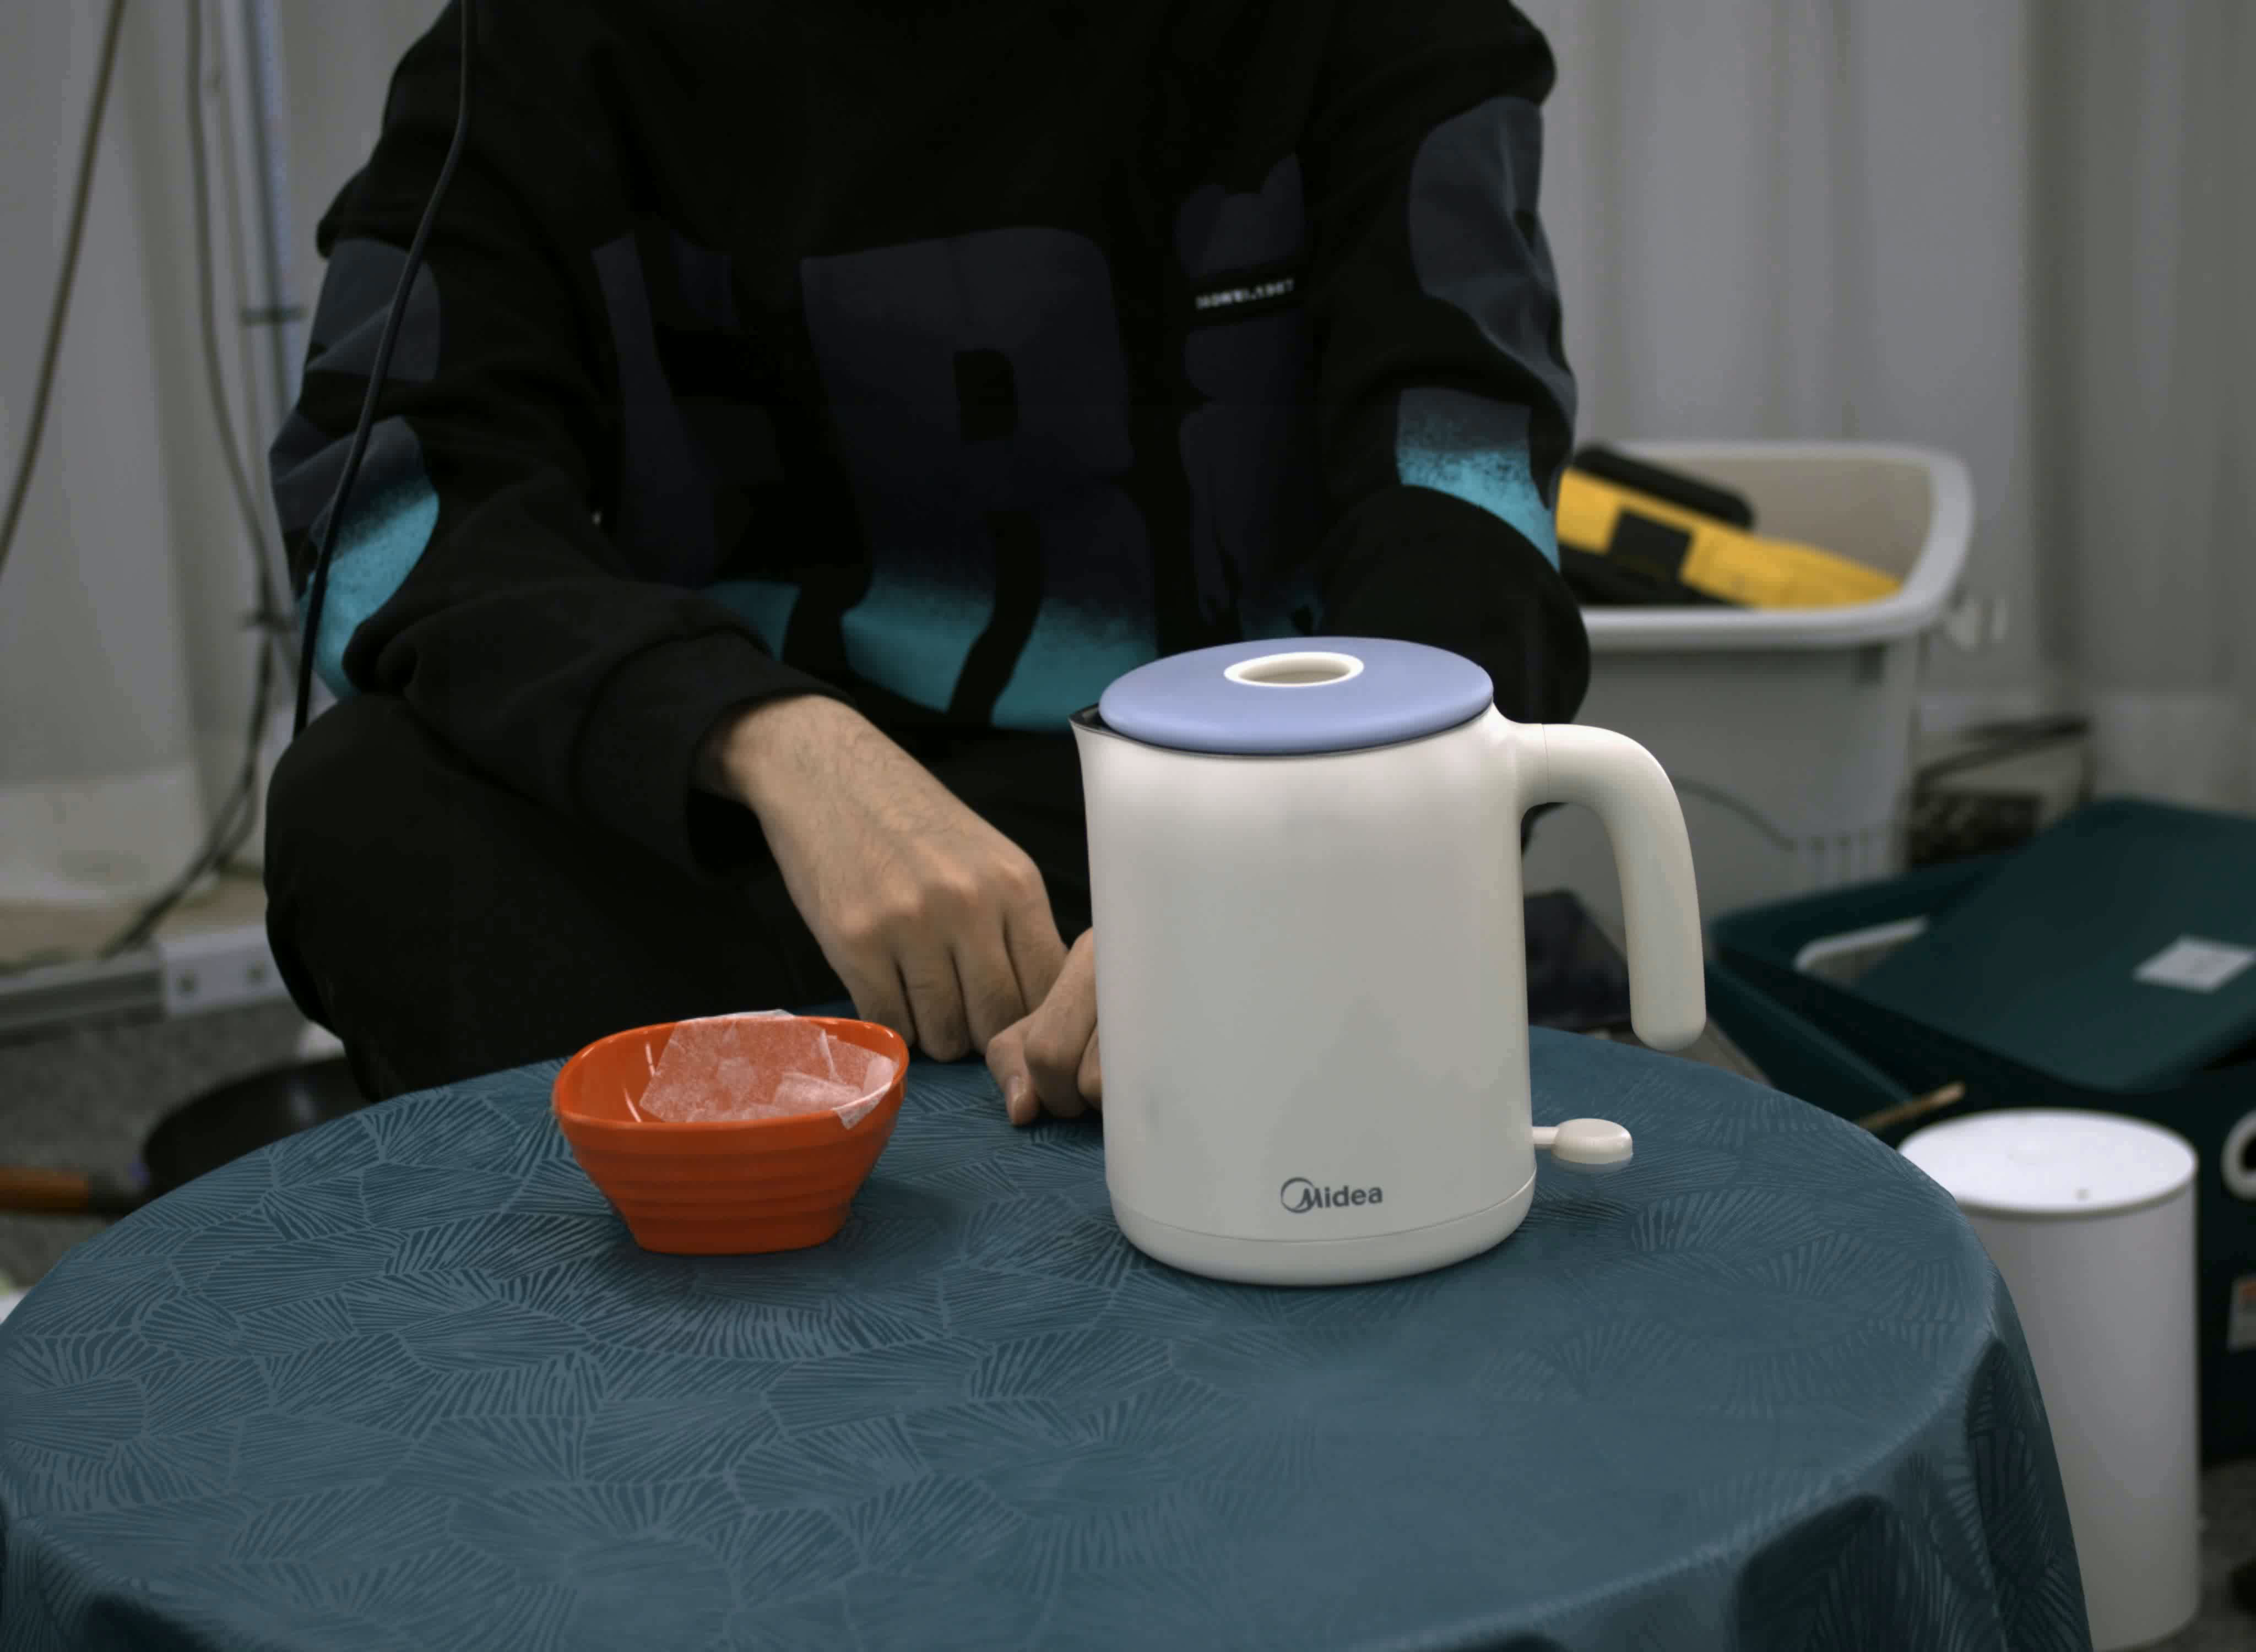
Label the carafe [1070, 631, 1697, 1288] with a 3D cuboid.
[{"bbox_3d":[0.078,0.038,1.657,0.190,0.182,0.133,-1,15,-3],"label":"carafe"}]

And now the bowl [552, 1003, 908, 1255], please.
[{"bbox_3d":[-0.121,0.097,1.700,0.118,0.051,0.120,-5,18,1],"label":"bowl"}]
